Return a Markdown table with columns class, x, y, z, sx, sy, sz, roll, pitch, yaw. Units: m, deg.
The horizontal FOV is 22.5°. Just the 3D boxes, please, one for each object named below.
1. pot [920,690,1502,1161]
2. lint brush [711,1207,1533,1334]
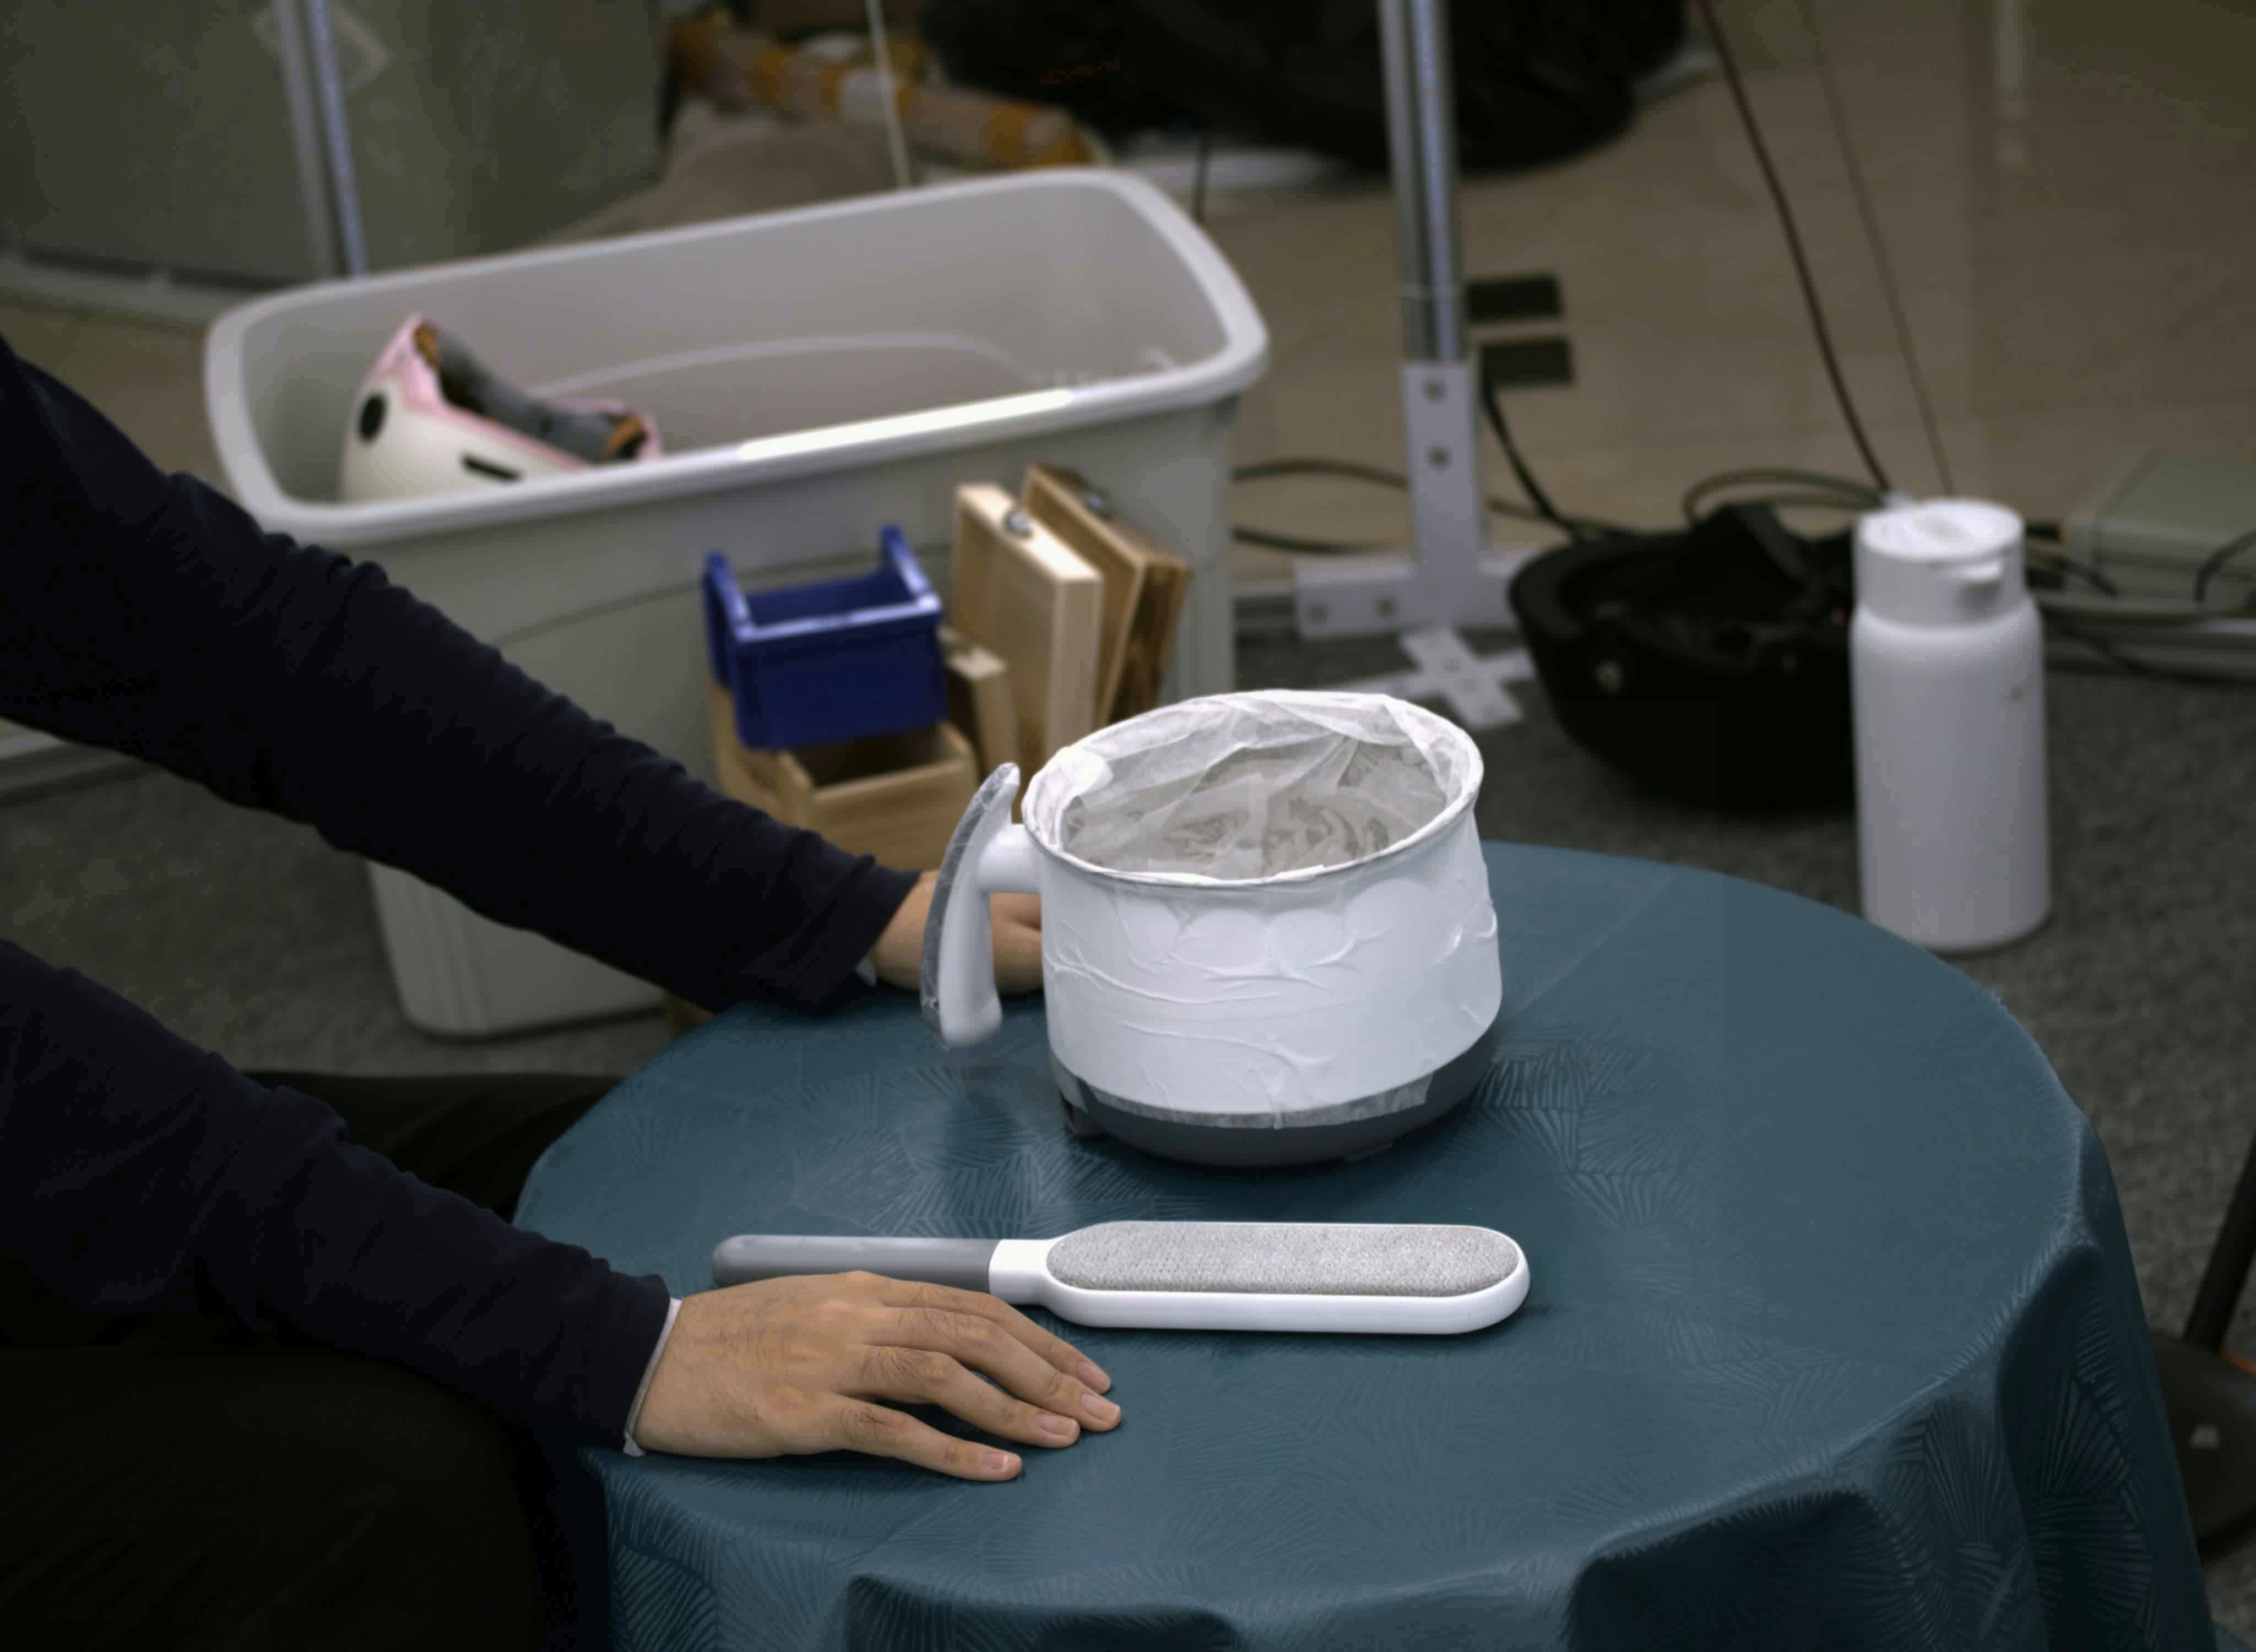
| class | x | y | z | sx | sy | sz | roll | pitch | yaw |
| --- | --- | --- | --- | --- | --- | --- | --- | --- | --- |
| pot | 0.028 | 0.039 | 2.192 | 0.233 | 0.139 | 0.176 | 2 | 24 | 18 |
| lint brush | -0.005 | 0.160 | 2.075 | 0.308 | 0.021 | 0.059 | 0 | 32 | 15 |
